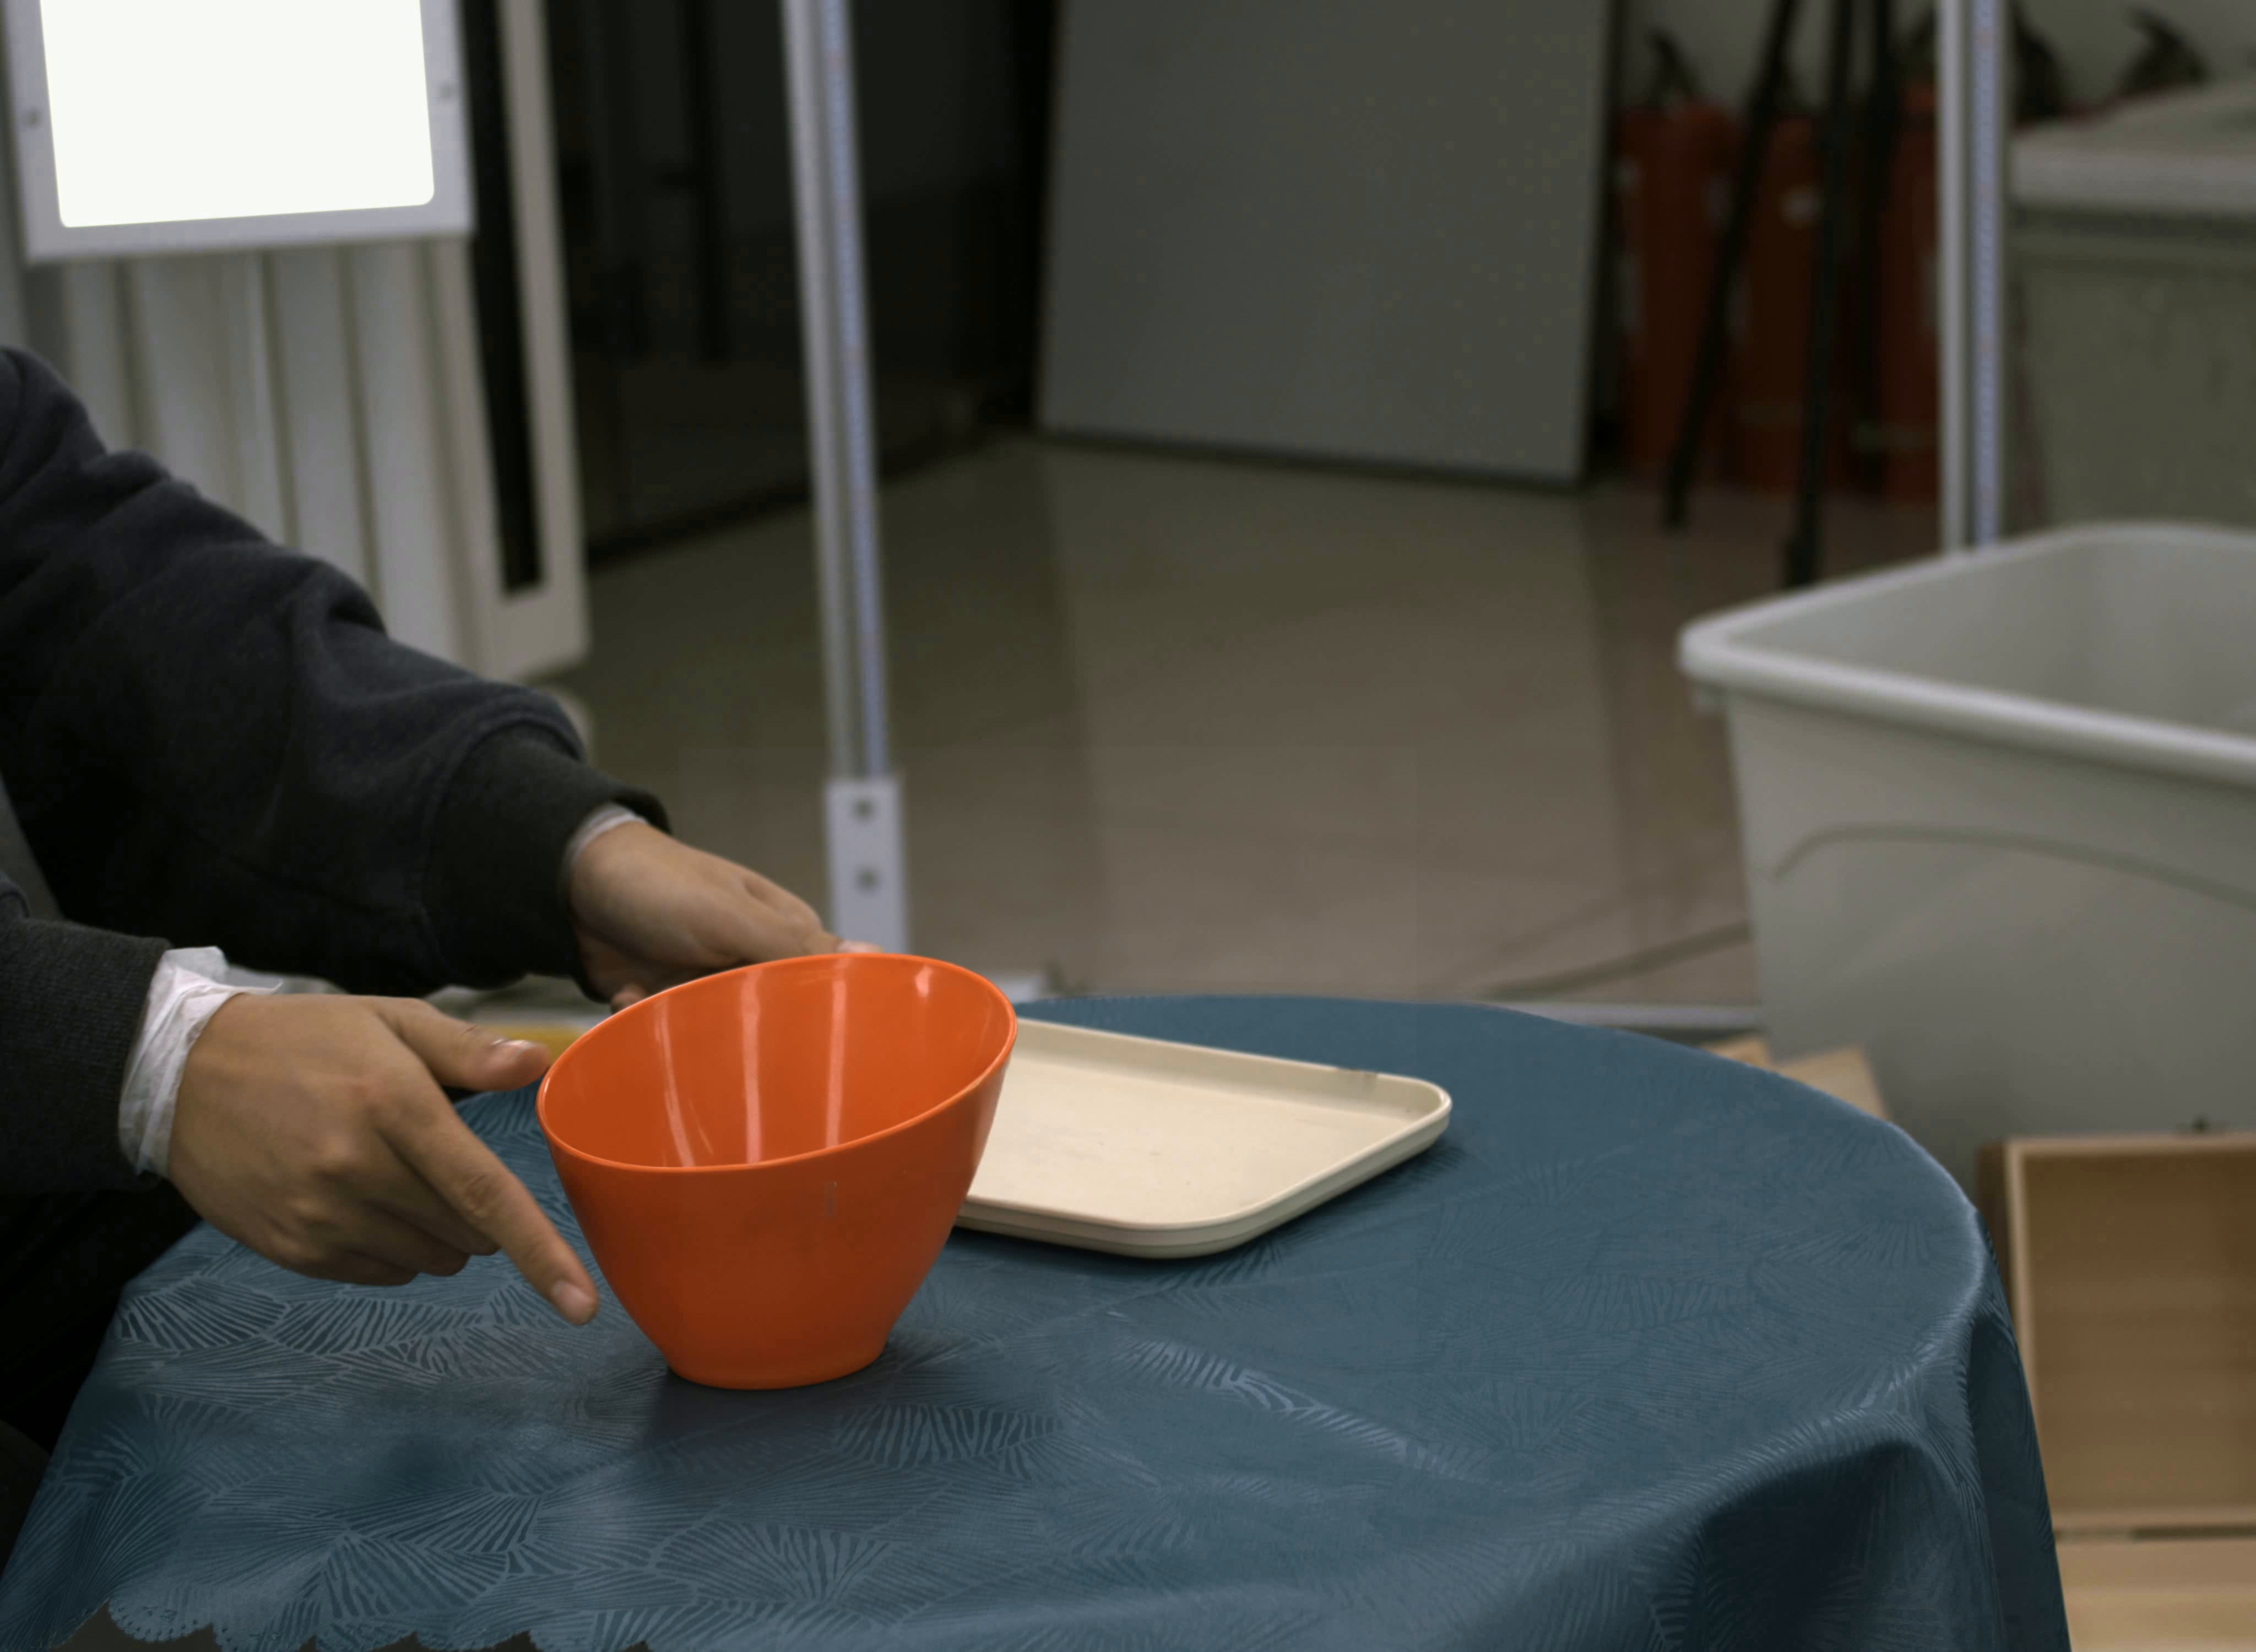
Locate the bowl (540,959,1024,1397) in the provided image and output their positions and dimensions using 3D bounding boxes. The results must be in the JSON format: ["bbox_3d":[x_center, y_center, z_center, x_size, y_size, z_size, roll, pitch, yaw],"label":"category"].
[{"bbox_3d":[-0.103,0.109,1.632,0.146,0.106,0.148,-2,13,0],"label":"bowl"}]

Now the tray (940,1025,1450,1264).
[{"bbox_3d":[-0.024,0.105,1.806,0.241,0.017,0.168,6,18,37],"label":"tray"}]
